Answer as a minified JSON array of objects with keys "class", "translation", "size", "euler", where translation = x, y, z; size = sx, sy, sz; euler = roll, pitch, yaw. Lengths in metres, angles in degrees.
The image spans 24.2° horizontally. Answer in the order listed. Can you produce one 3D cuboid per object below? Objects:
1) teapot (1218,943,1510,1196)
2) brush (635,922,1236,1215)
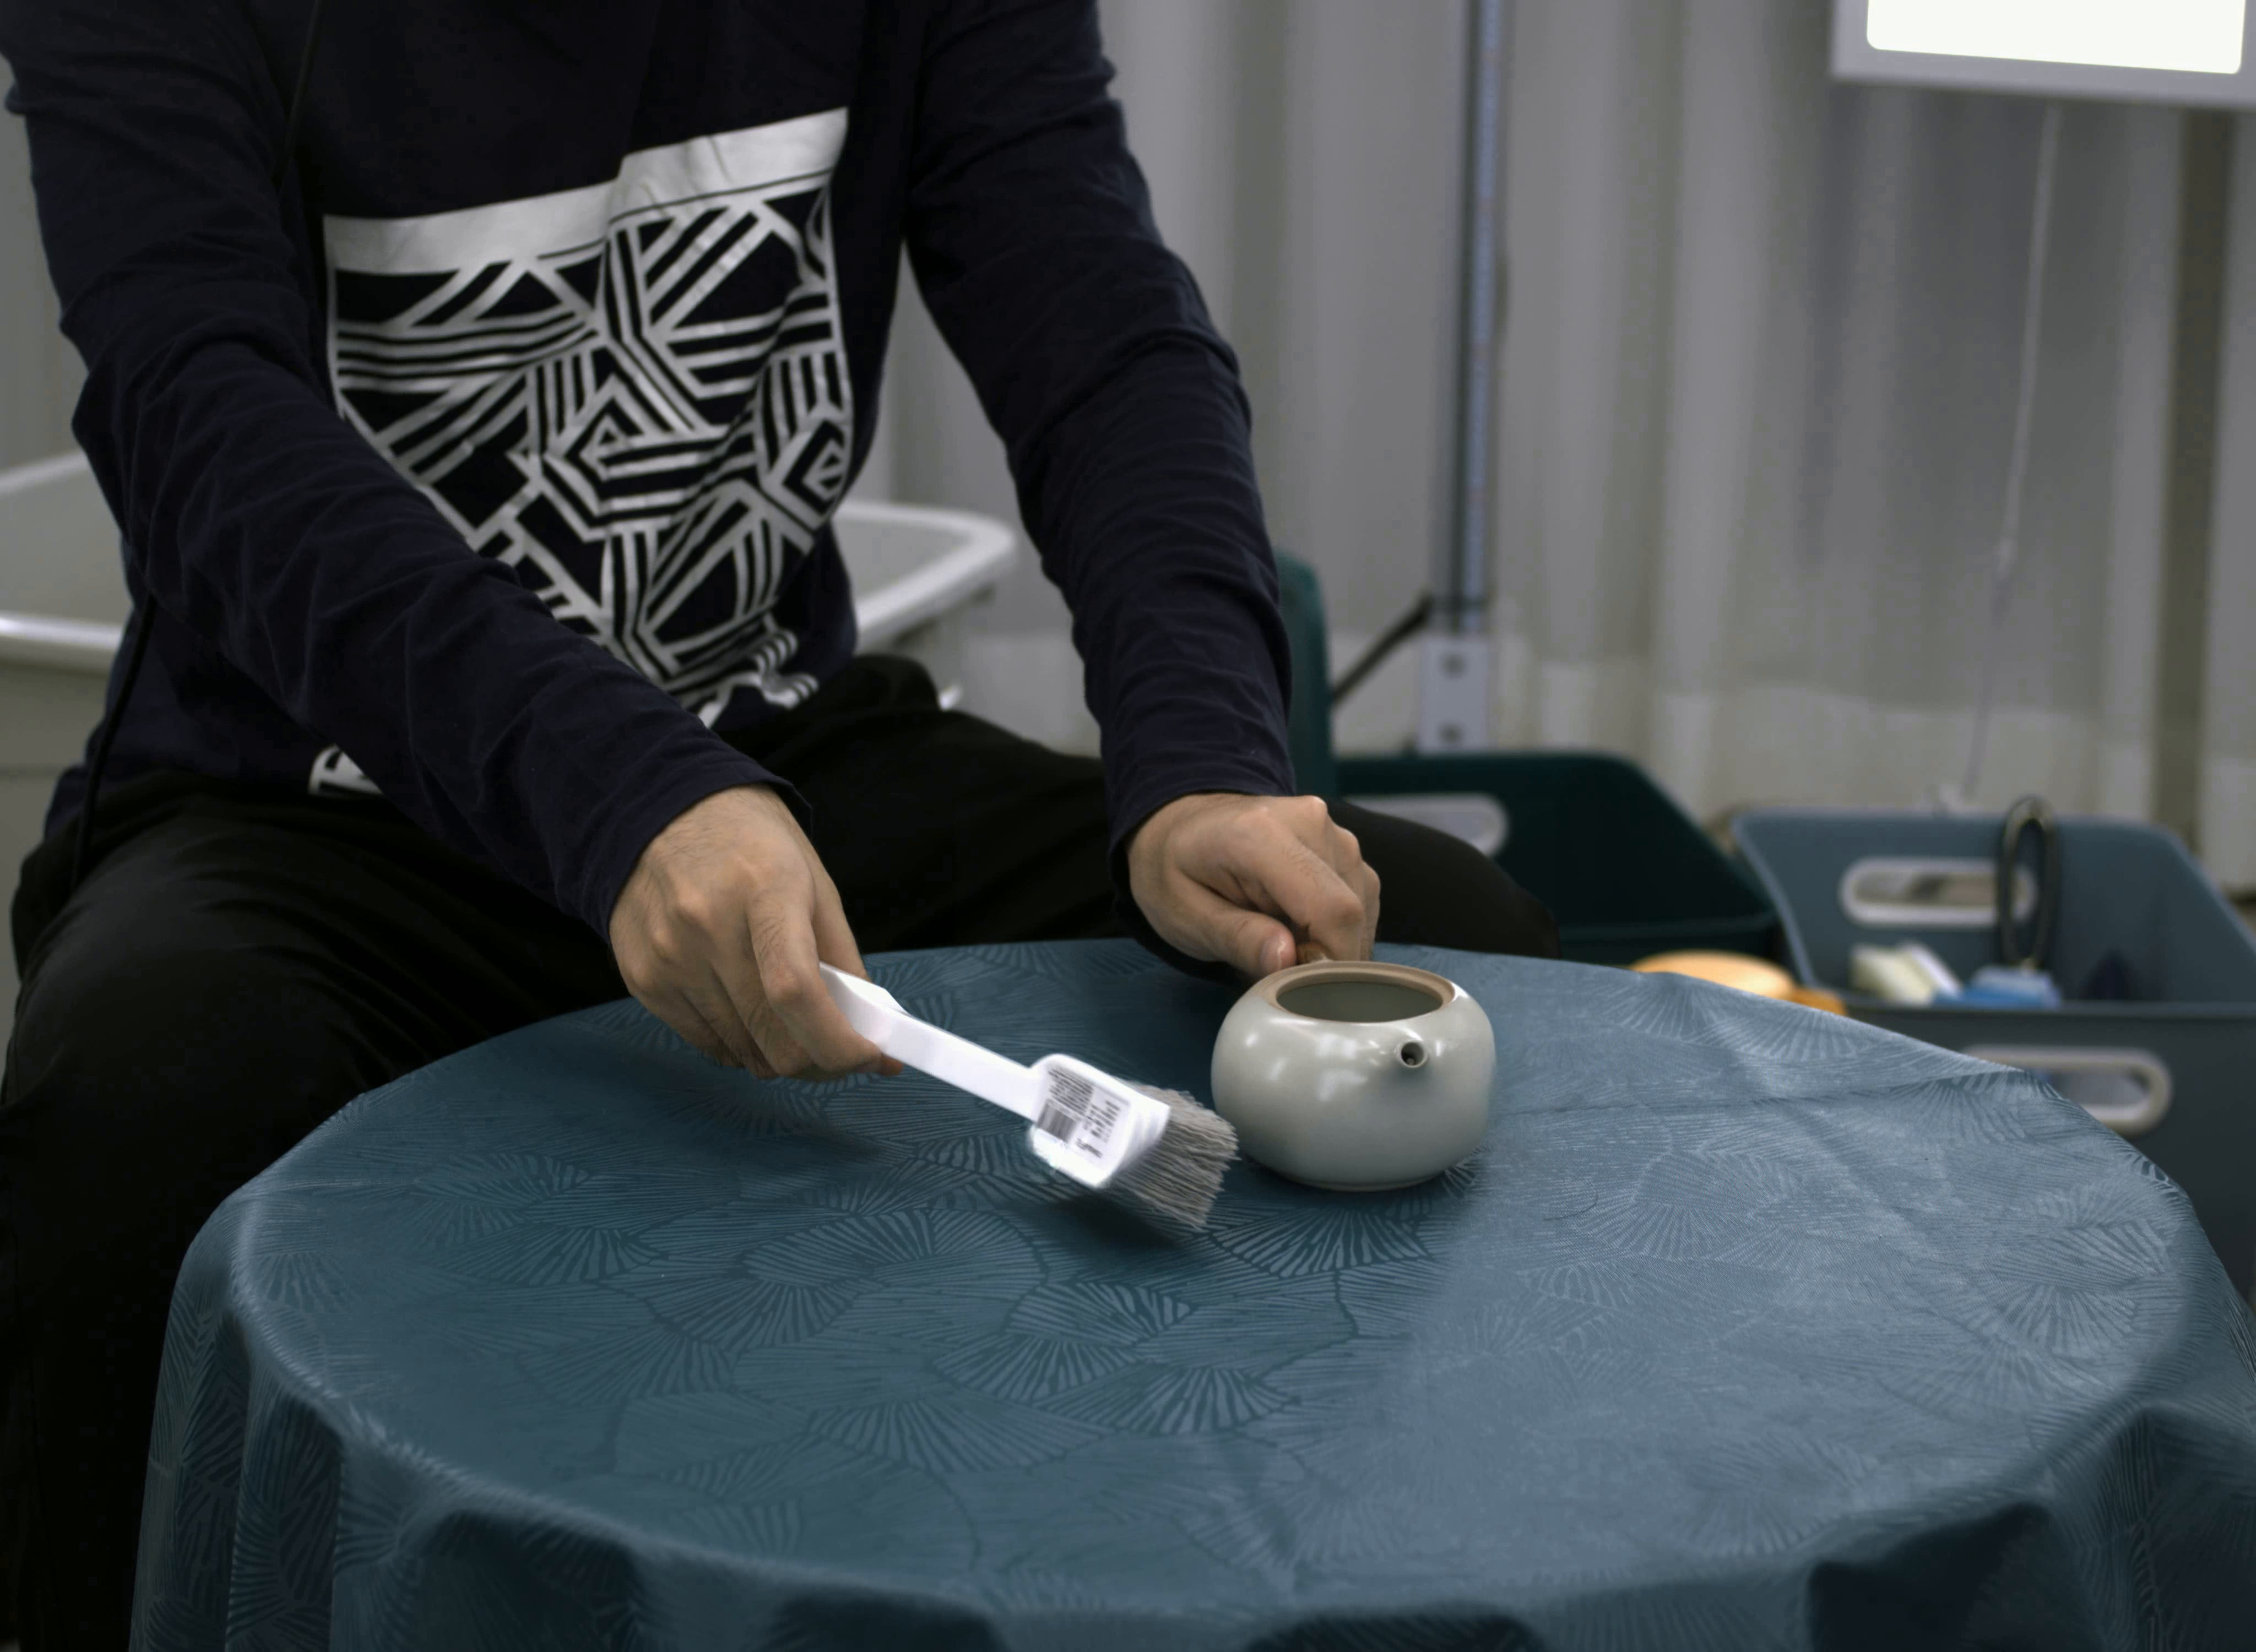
[{"class":"teapot","translation":[0.070,0.076,1.652],"size":[0.092,0.060,0.126],"euler":[-8,20,-17]},{"class":"brush","translation":[-0.061,0.073,1.645],"size":[0.240,0.034,0.051],"euler":[19,1,41]}]
